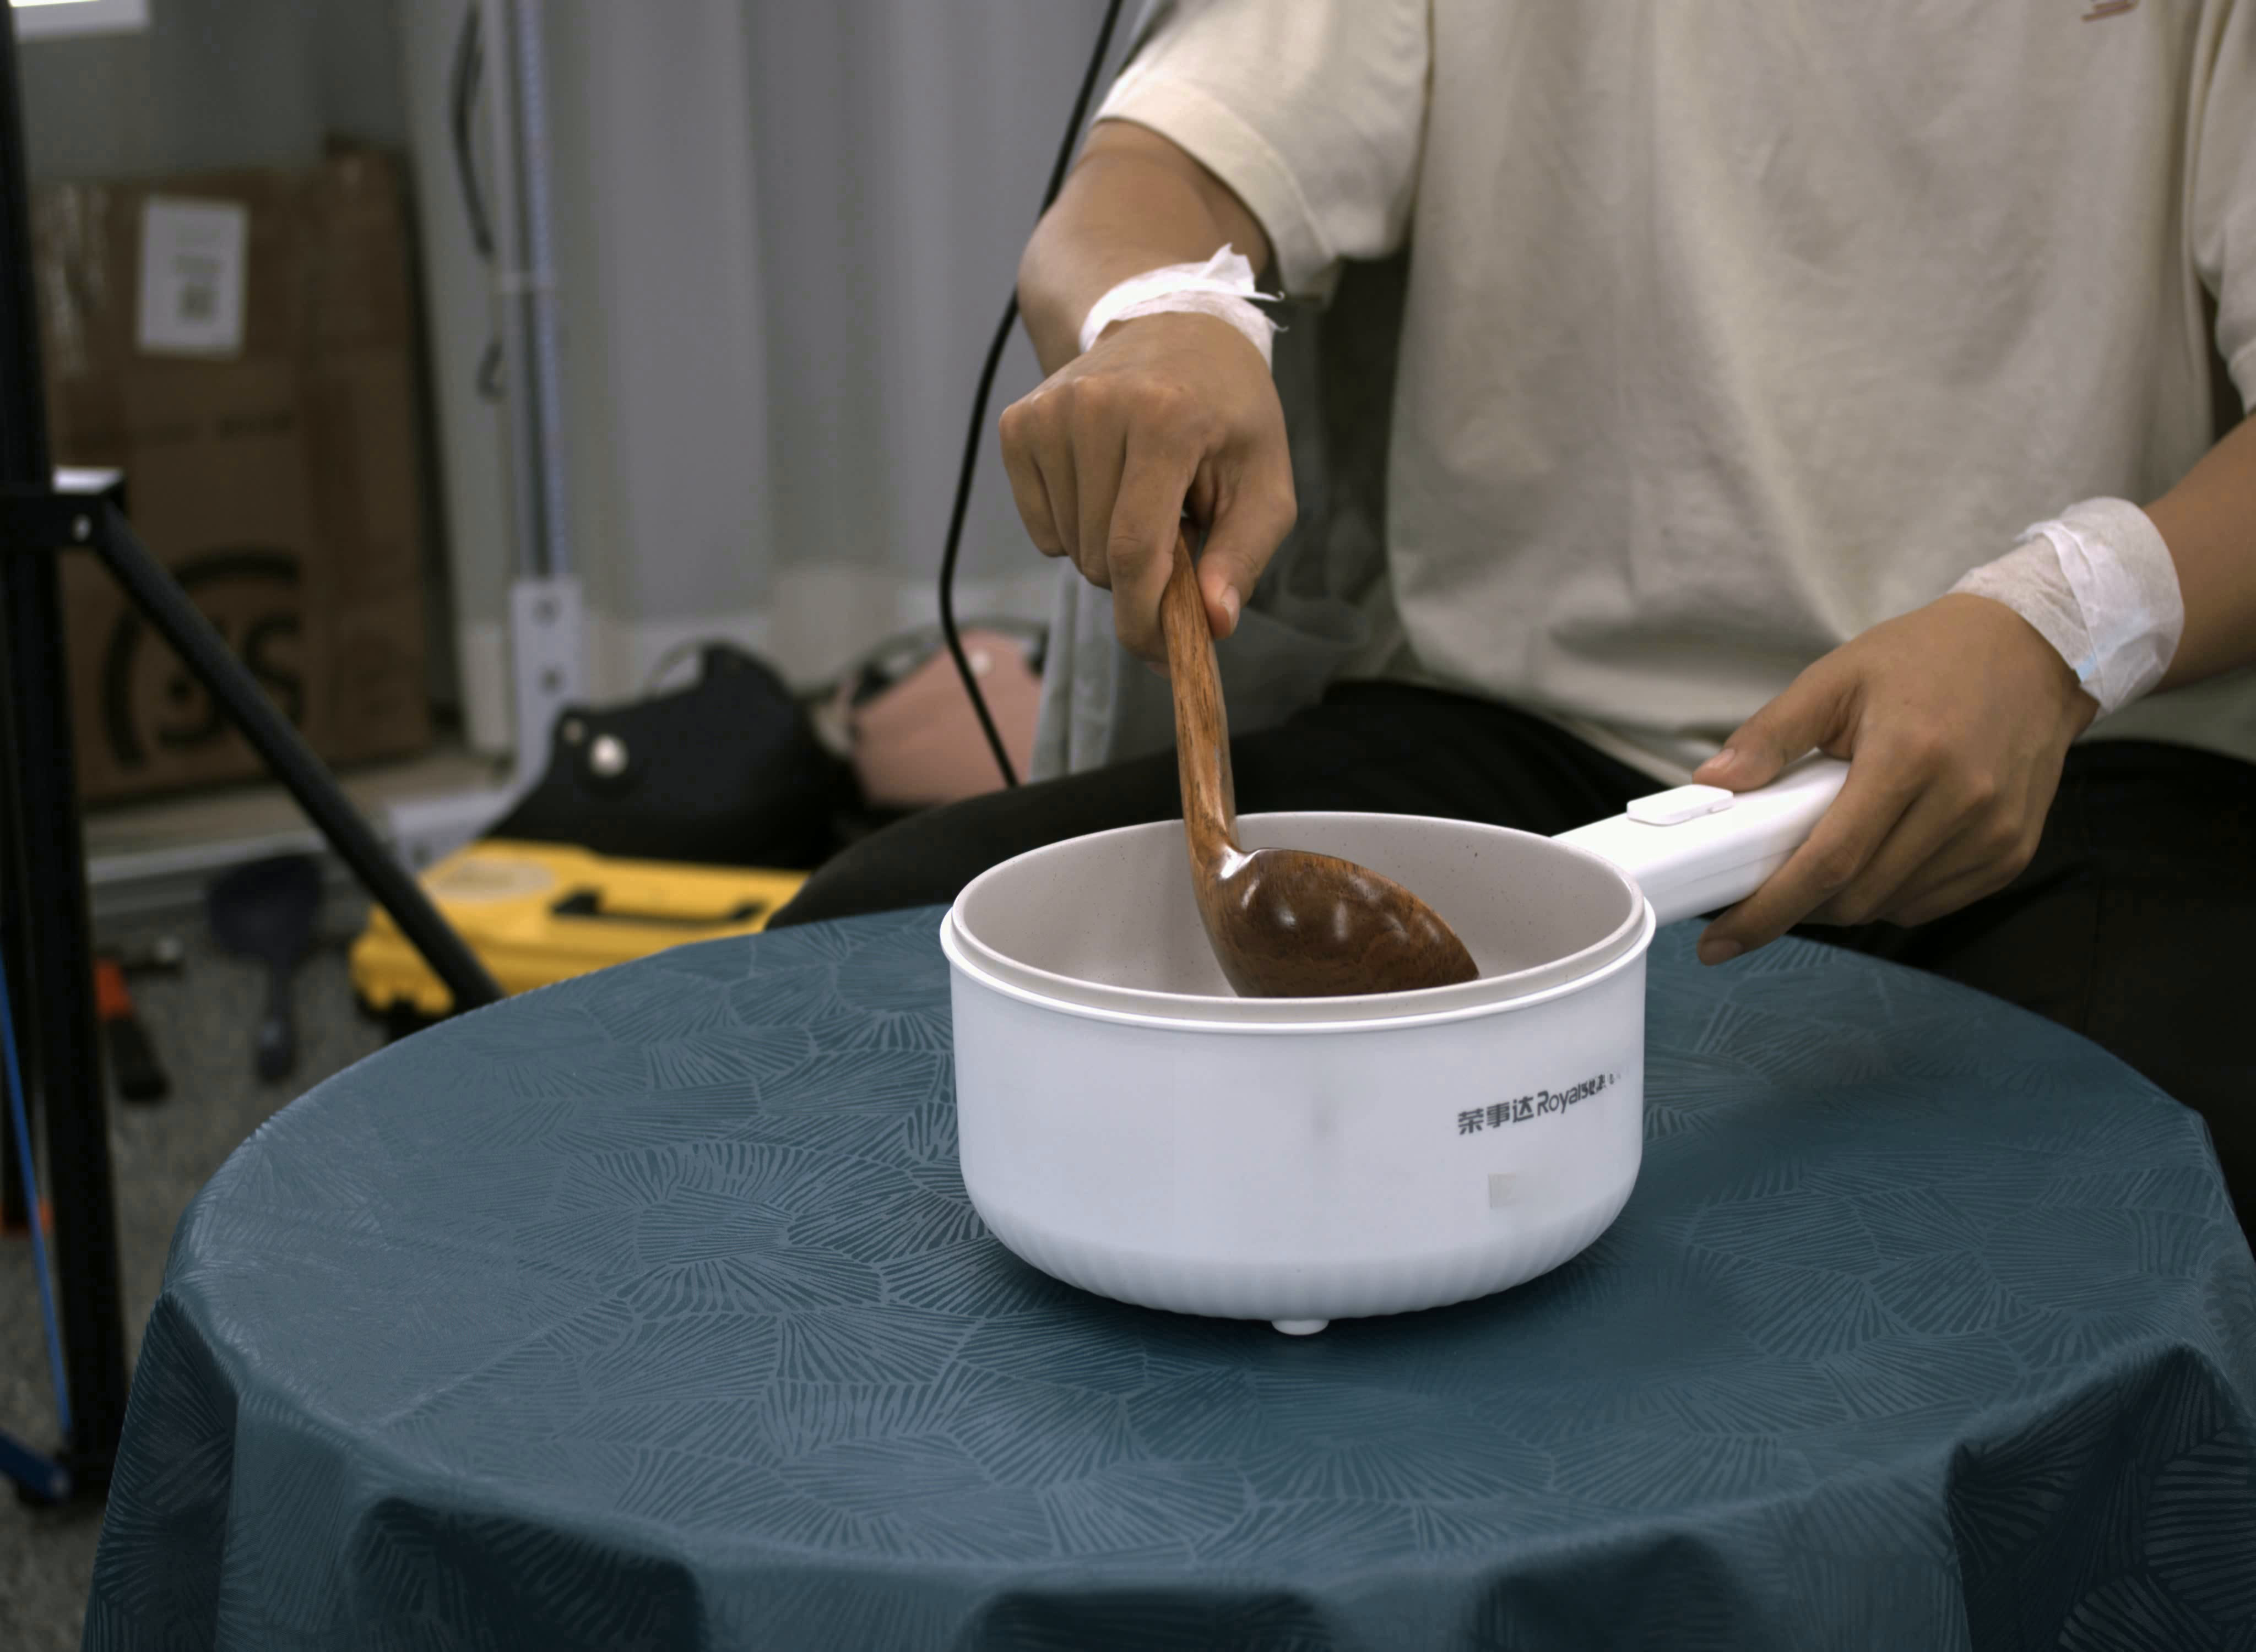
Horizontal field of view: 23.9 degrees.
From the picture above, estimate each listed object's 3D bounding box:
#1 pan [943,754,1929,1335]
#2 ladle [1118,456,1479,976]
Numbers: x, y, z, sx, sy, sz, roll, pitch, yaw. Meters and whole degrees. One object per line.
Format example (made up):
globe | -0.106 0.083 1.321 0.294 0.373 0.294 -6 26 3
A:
pan | 0.105 0.057 1.545 0.346 0.102 0.206 -13 17 -40
ladle | 0.048 -0.031 1.574 0.076 0.081 0.277 -8 39 -1
